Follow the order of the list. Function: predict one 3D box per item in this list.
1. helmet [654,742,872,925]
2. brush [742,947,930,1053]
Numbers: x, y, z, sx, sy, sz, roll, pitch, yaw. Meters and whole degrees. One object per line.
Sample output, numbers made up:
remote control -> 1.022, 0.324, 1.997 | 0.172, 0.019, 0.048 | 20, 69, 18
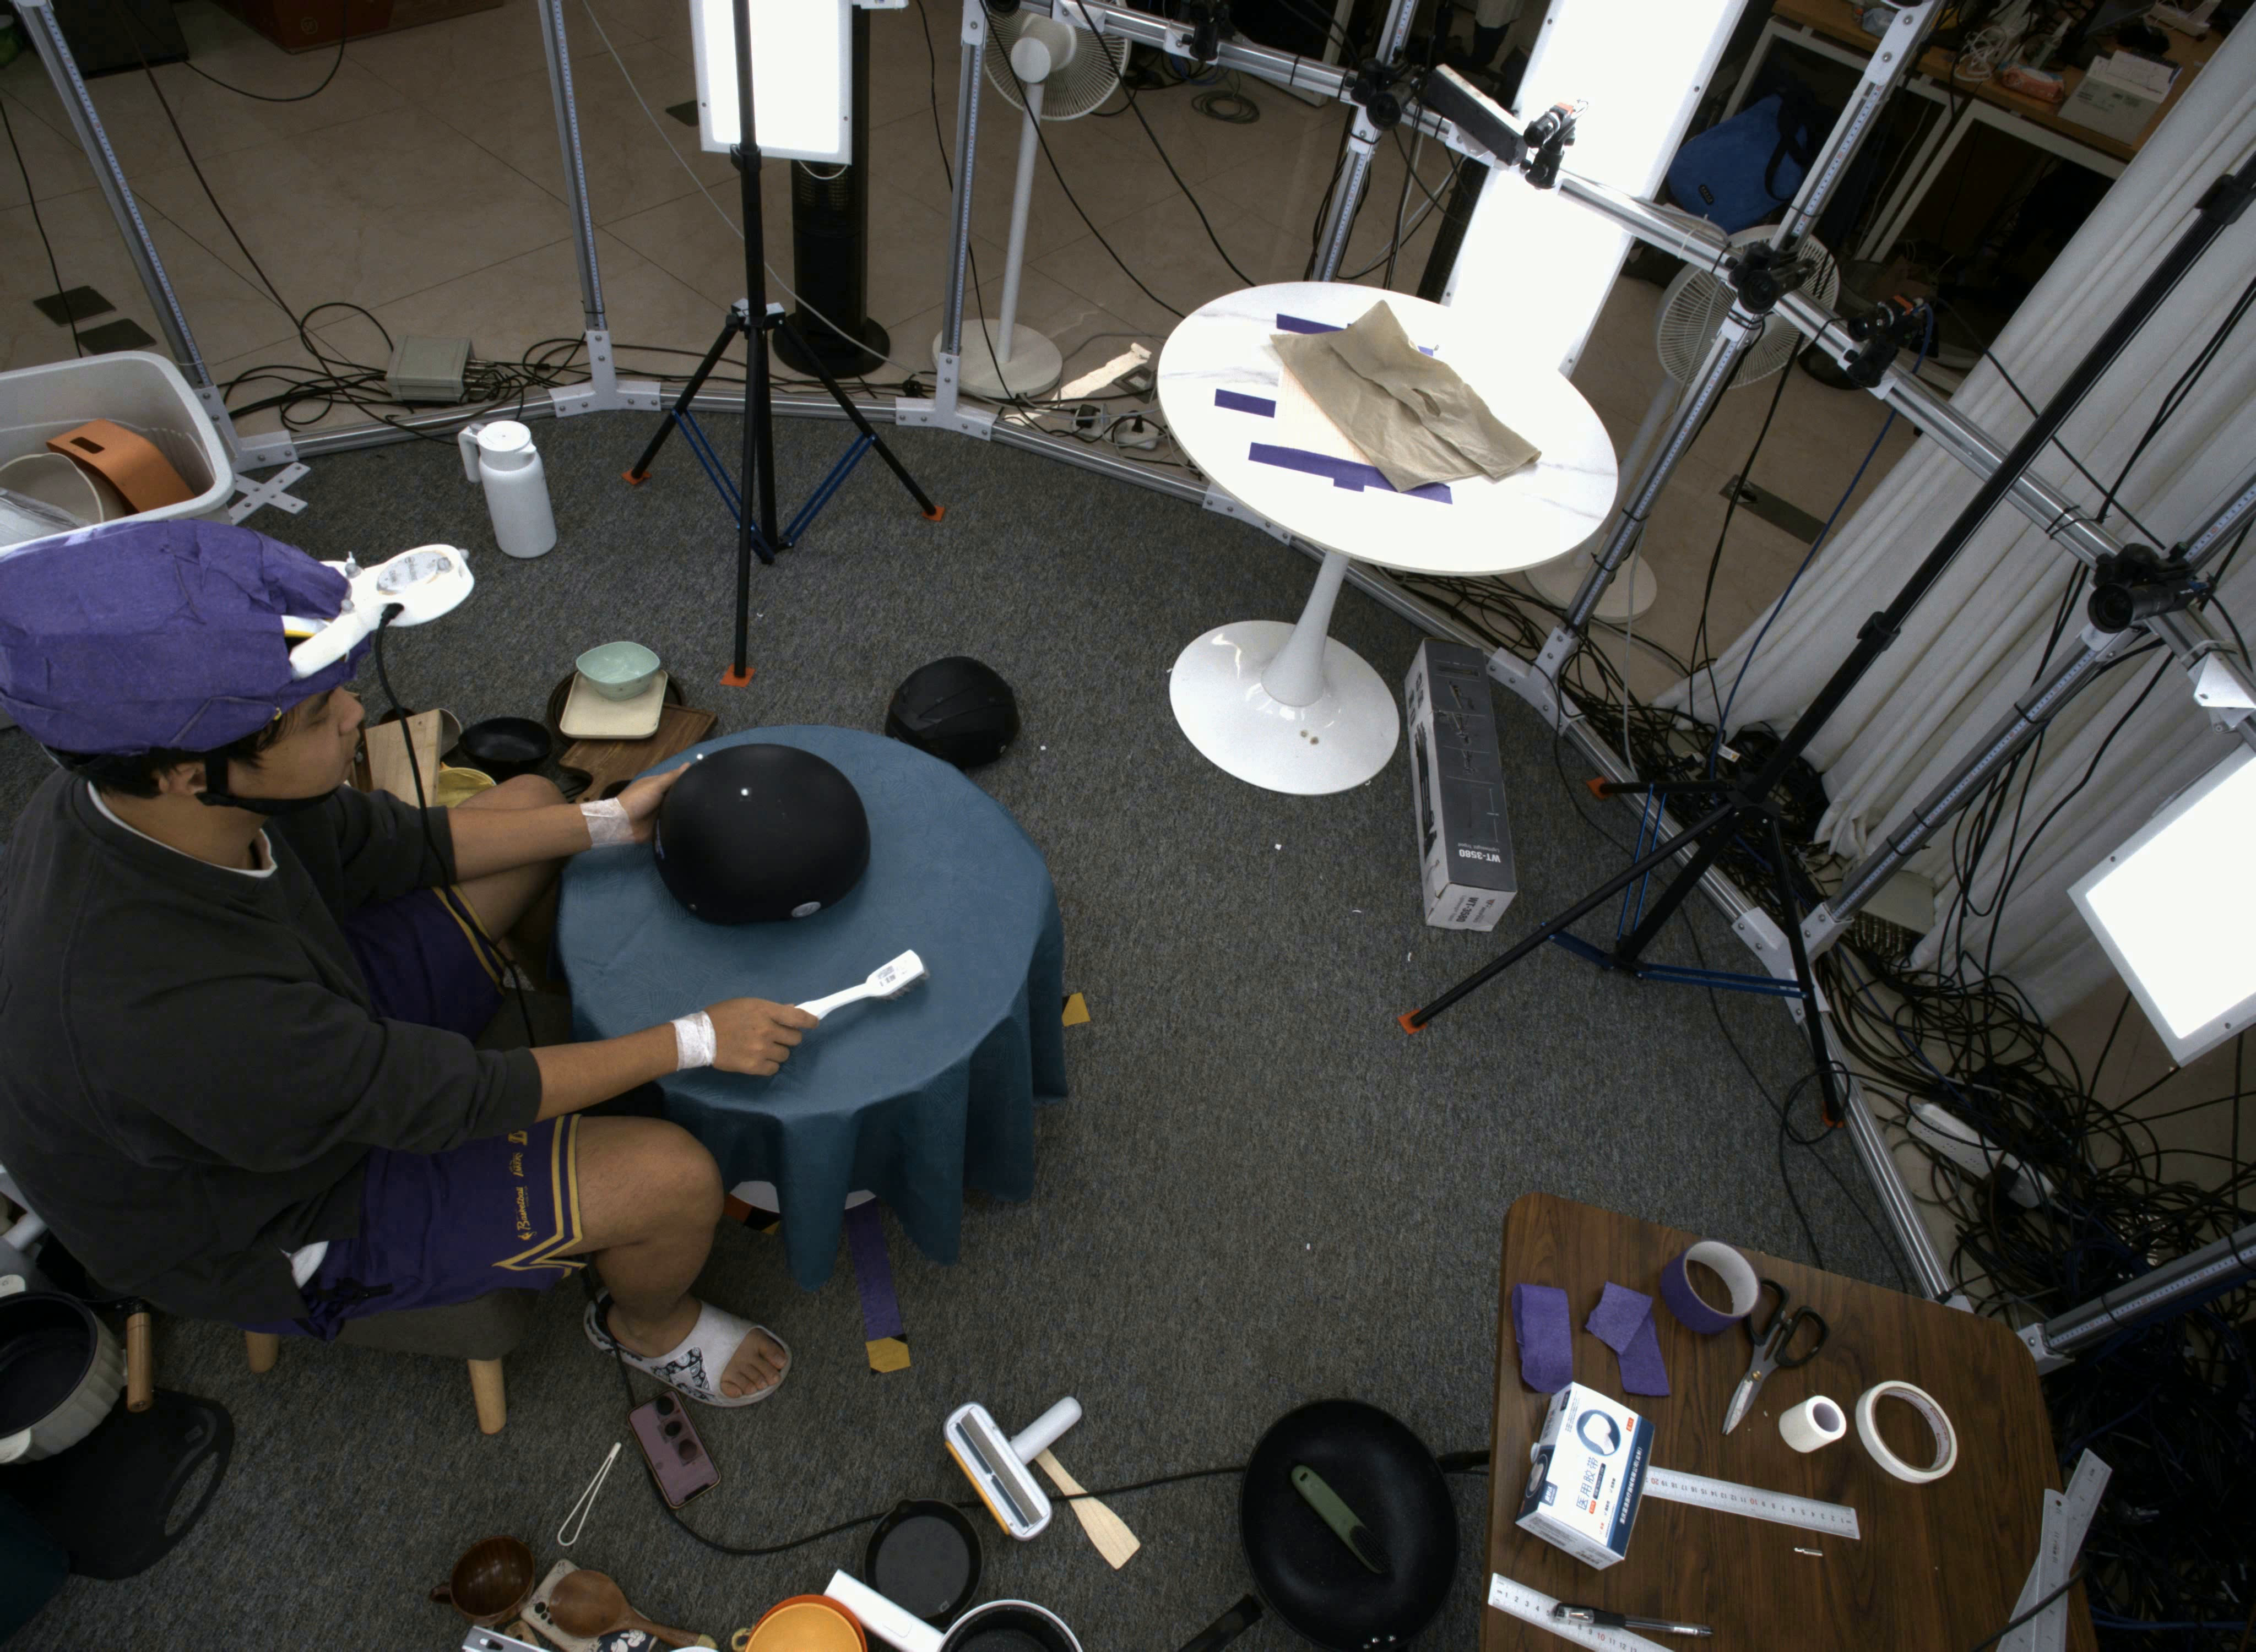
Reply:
helmet -> -0.453, -0.005, 1.611 | 0.274, 0.168, 0.228 | -4, 69, -18
brush -> -0.346, 0.212, 1.551 | 0.244, 0.051, 0.033 | -27, 66, -27
